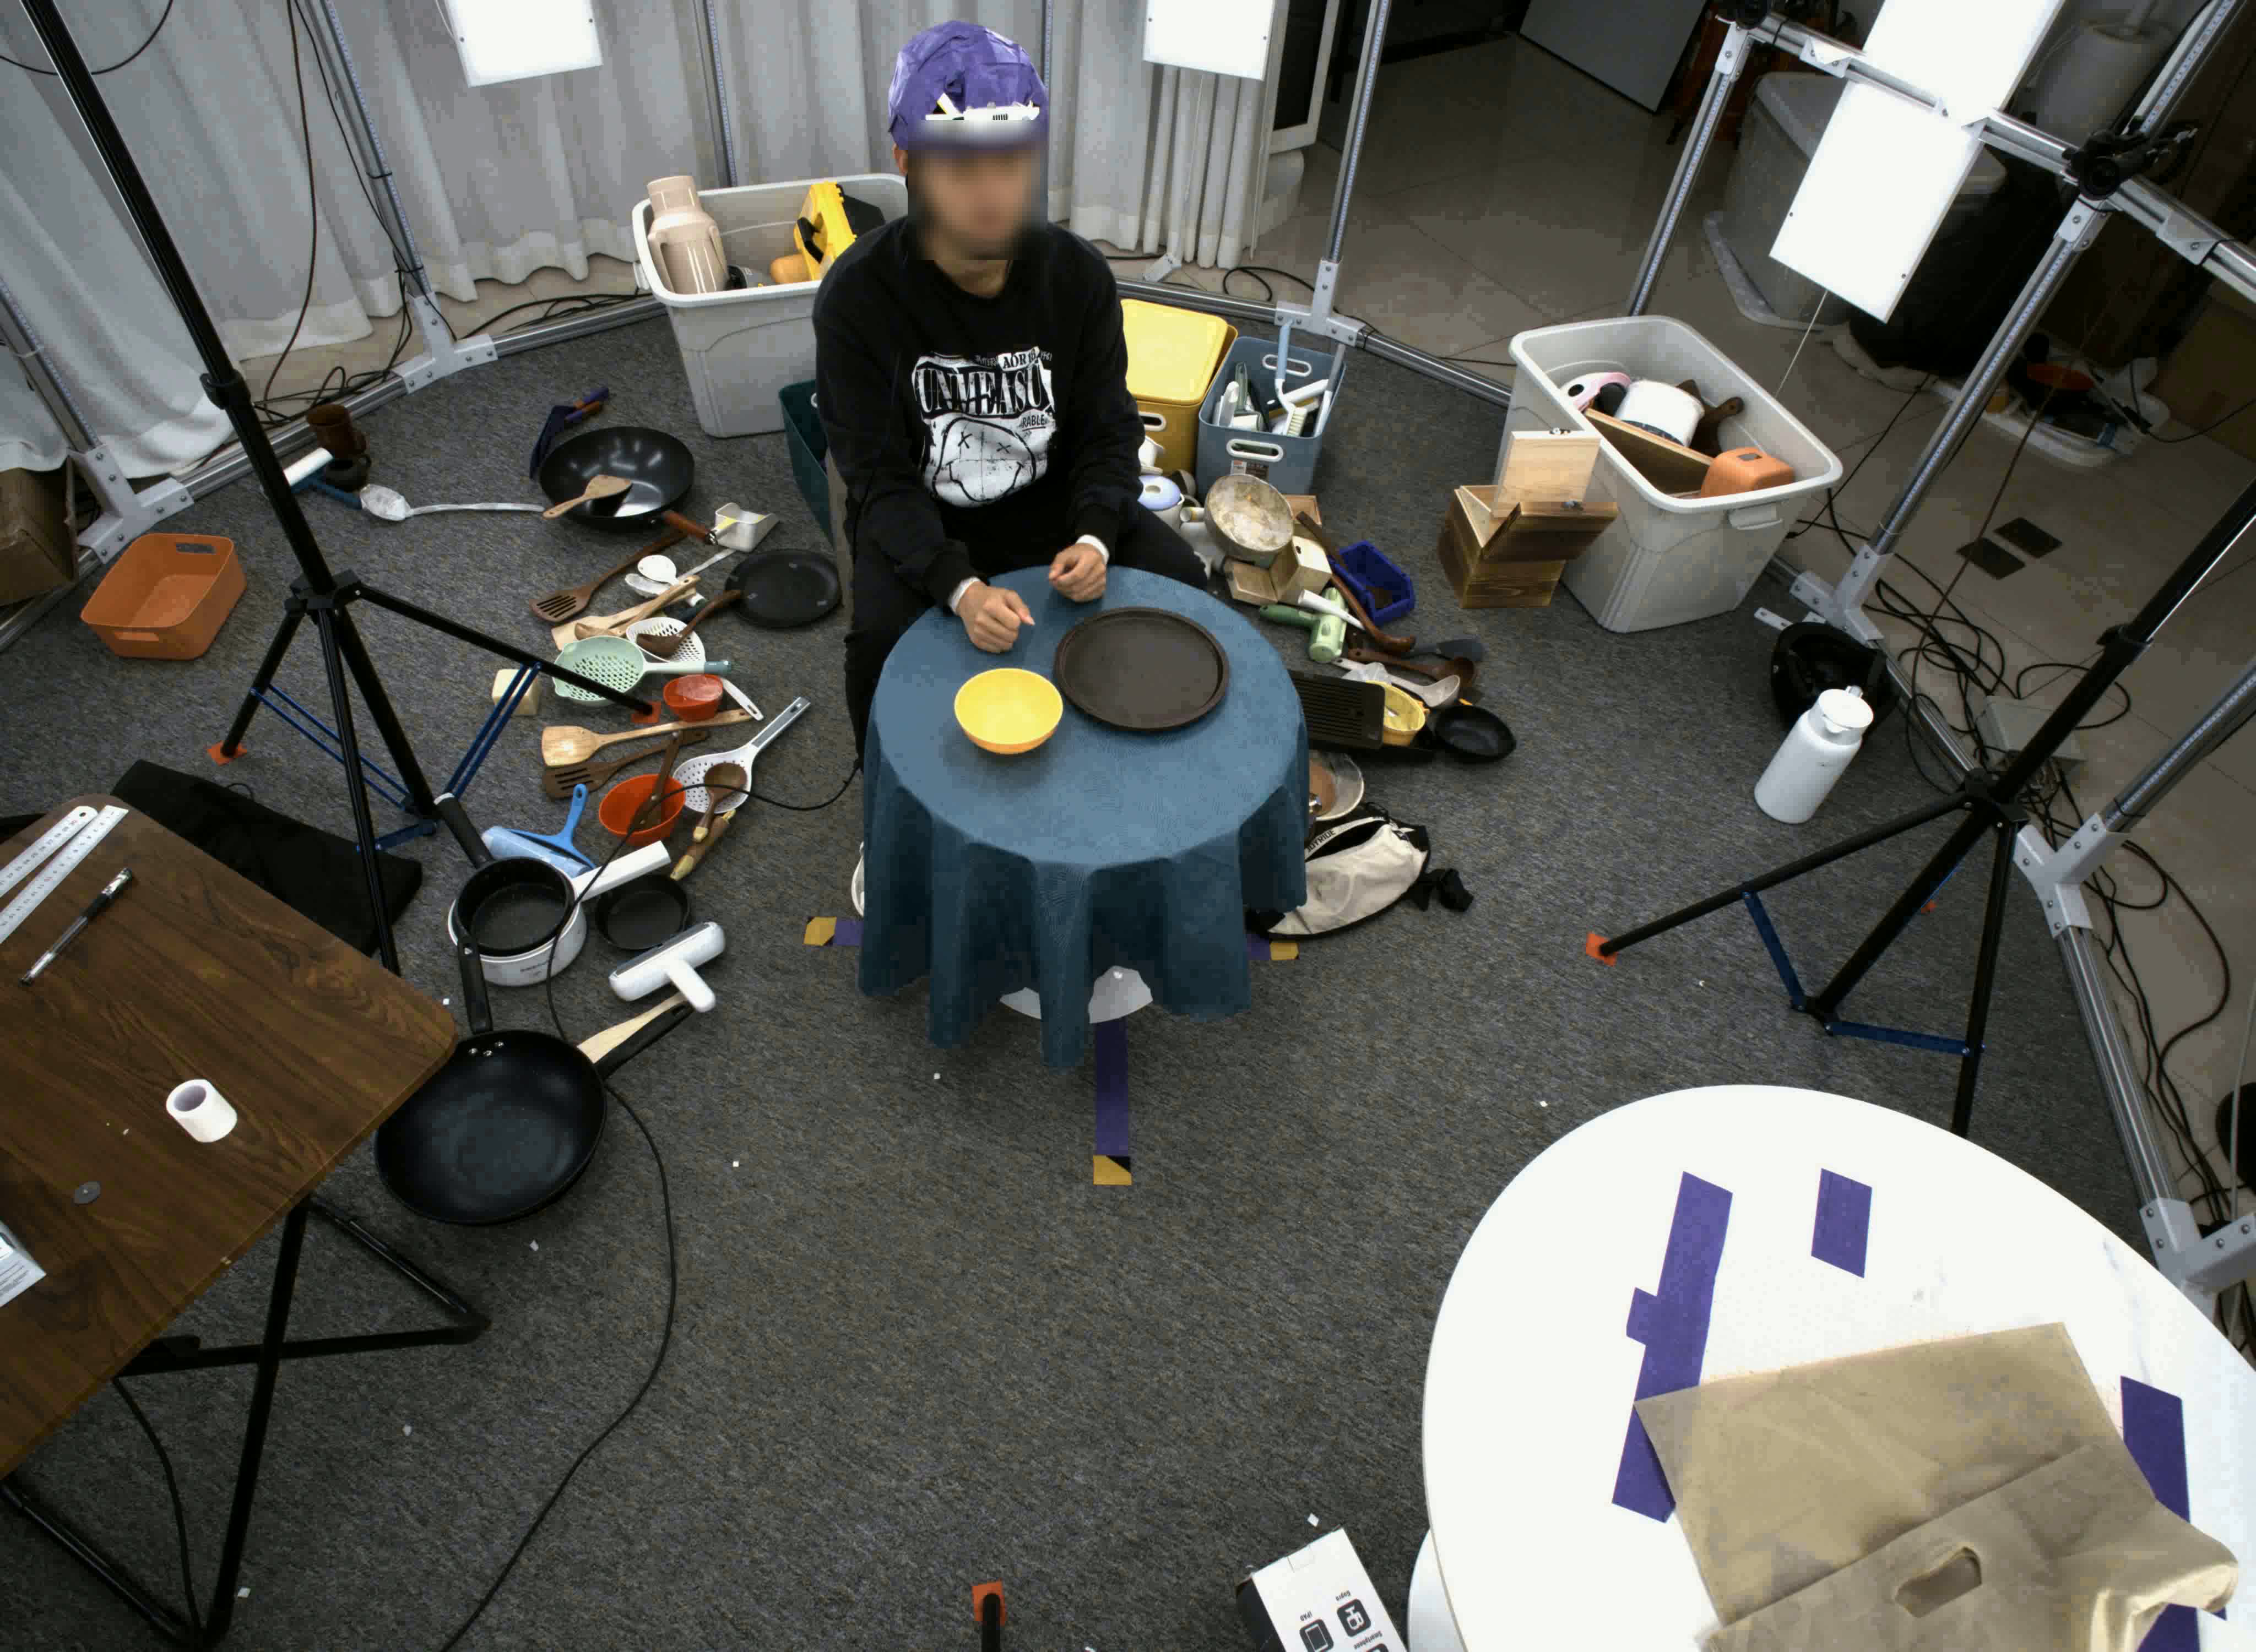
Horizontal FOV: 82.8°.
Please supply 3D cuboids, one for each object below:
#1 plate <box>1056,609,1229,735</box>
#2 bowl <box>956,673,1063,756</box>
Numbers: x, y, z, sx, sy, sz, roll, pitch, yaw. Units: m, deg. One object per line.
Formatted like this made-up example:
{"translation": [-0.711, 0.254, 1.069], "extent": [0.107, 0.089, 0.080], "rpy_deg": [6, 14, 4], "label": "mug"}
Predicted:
{"translation": [0.022, -0.225, 1.868], "extent": [0.254, 0.028, 0.261], "rpy_deg": [1, 49, -1], "label": "plate"}
{"translation": [-0.162, -0.142, 1.760], "extent": [0.145, 0.058, 0.149], "rpy_deg": [2, 46, -3], "label": "bowl"}
